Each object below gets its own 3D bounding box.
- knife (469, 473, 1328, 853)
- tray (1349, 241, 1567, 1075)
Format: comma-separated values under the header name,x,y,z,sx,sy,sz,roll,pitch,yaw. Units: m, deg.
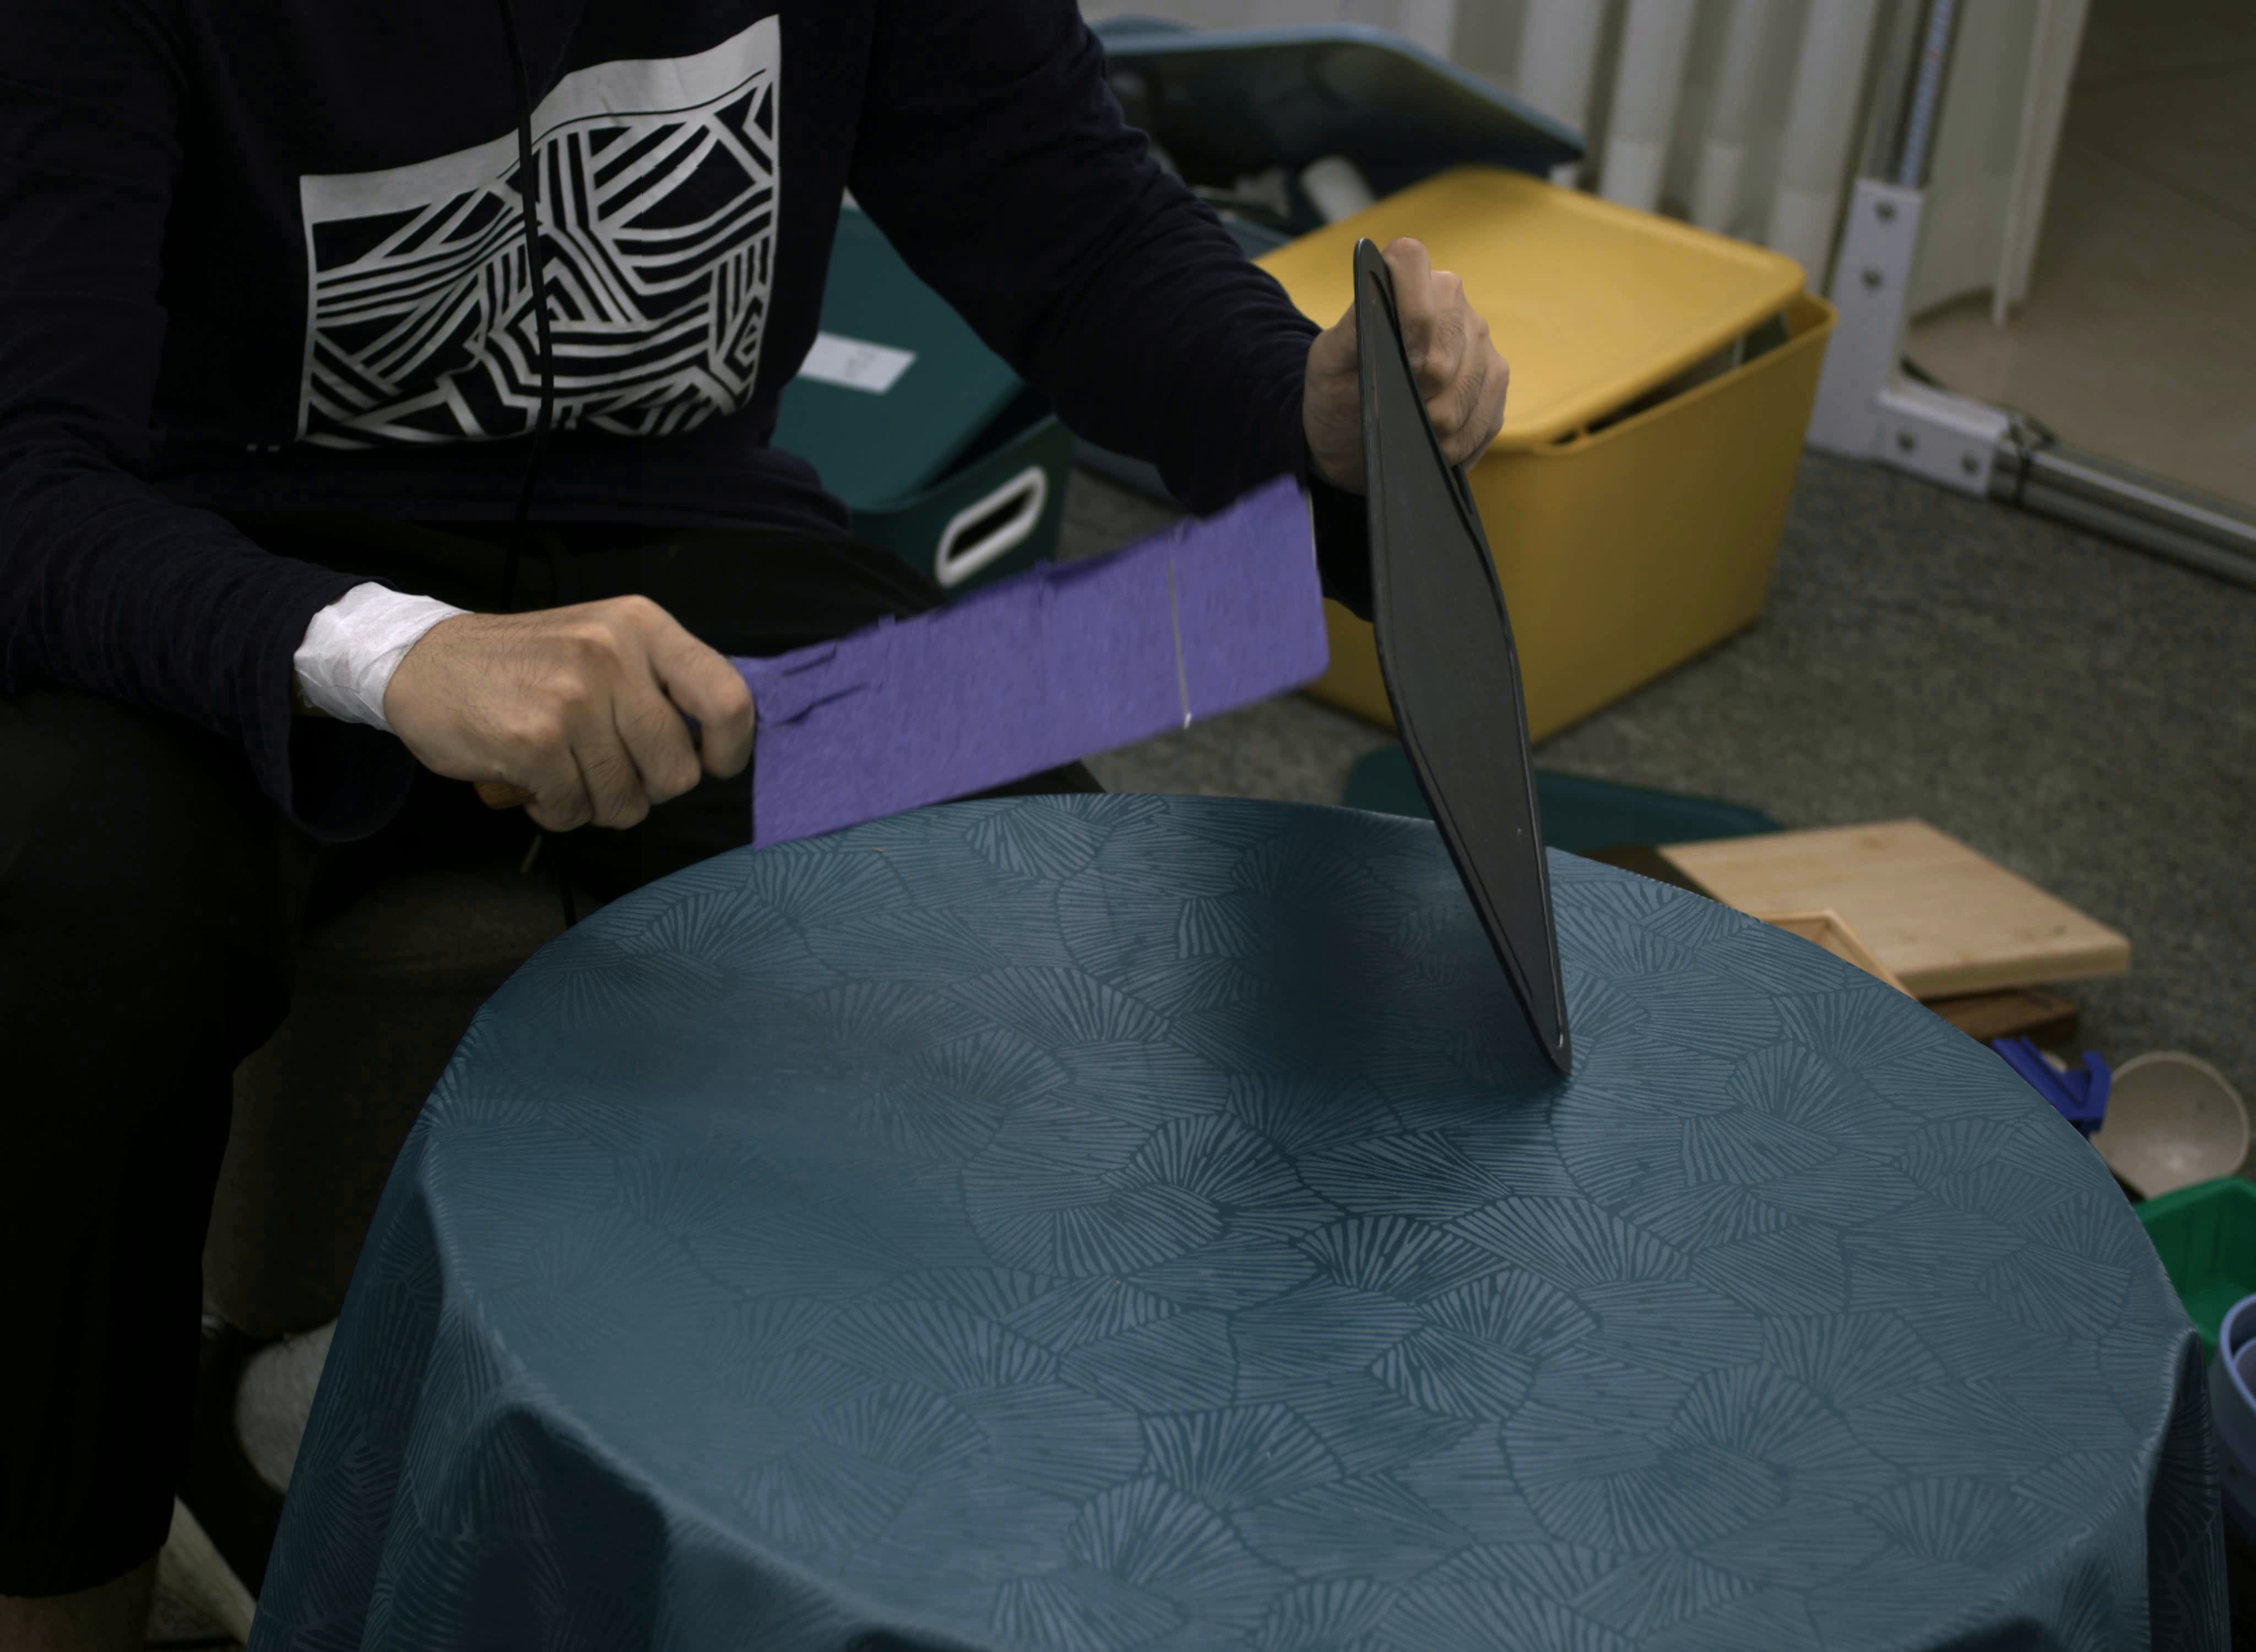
name,x,y,z,sx,sy,sz,roll,pitch,yaw
knife,-0.081,-0.039,1.796,0.315,0.032,0.105,-19,41,17
tray,0.122,-0.072,1.958,0.010,0.209,0.328,-17,37,13
